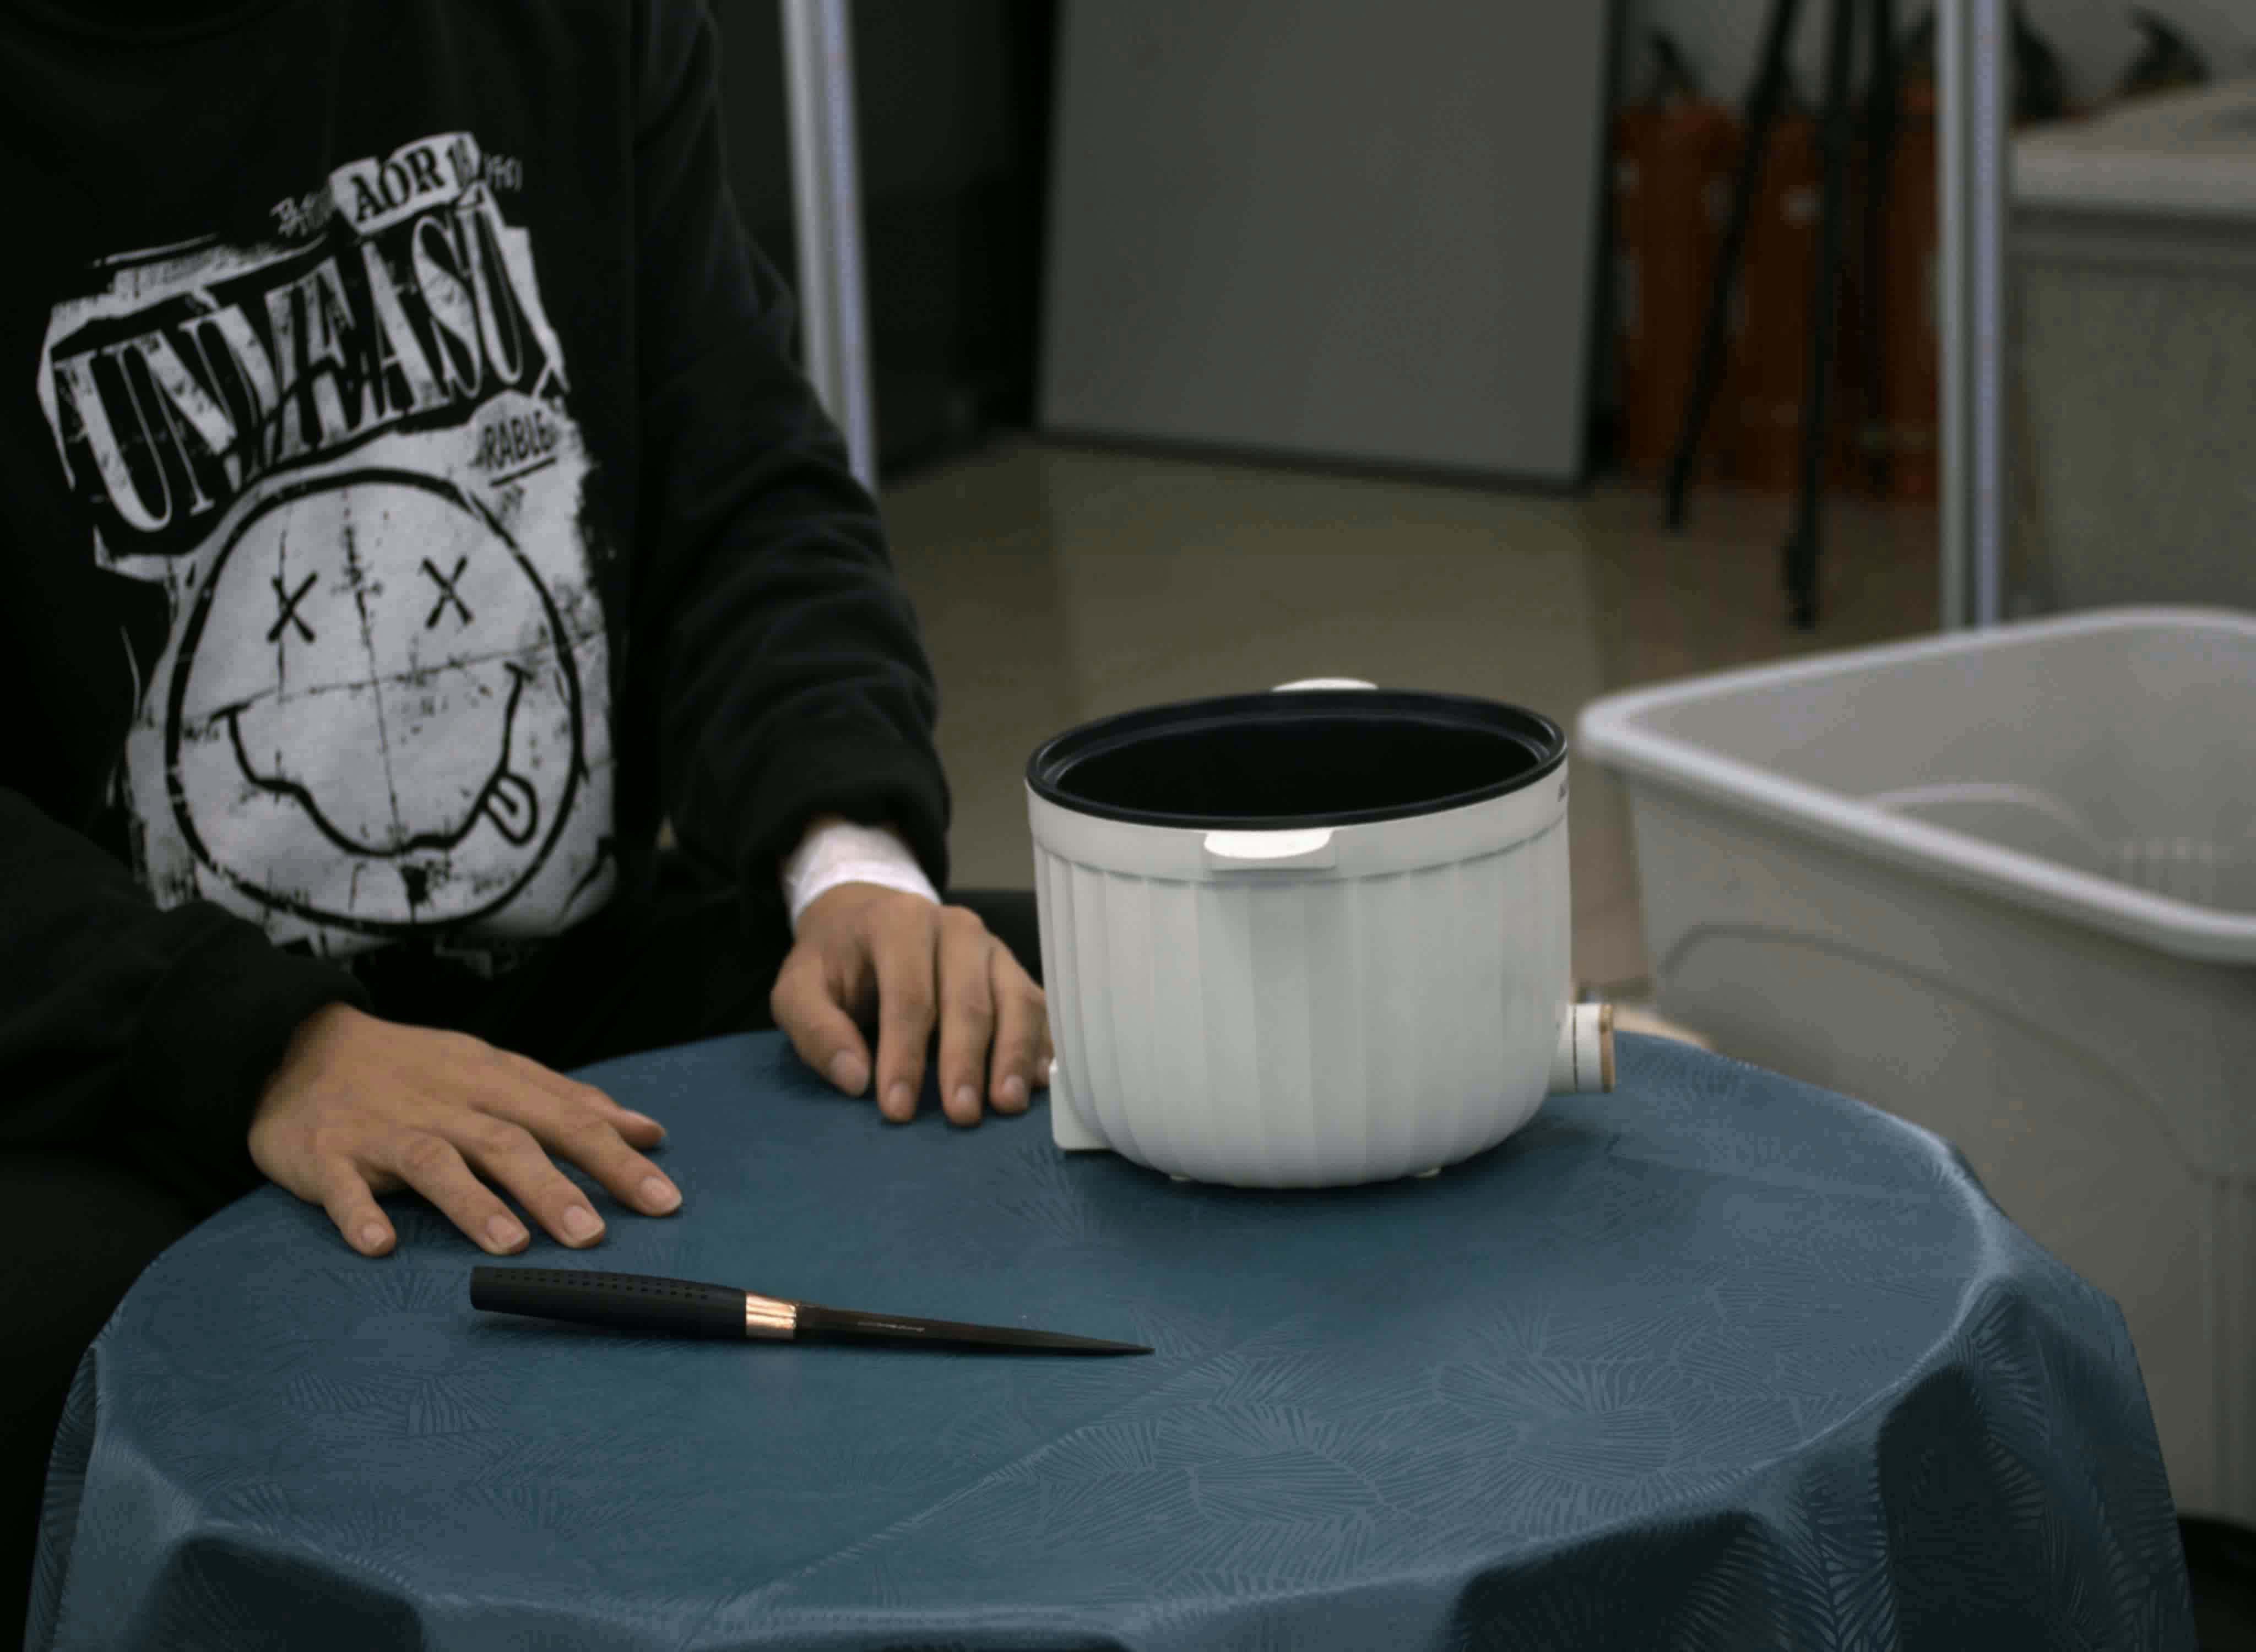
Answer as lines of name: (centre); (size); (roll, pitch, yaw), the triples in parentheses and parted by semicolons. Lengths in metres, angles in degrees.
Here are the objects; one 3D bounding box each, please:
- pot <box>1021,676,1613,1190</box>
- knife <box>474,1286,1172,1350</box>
pot: (0.064, 0.037, 1.801); (0.189, 0.144, 0.240); (-5, 15, 9)
knife: (-0.095, 0.153, 1.657); (0.225, 0.017, 0.026); (2, -1, 18)
